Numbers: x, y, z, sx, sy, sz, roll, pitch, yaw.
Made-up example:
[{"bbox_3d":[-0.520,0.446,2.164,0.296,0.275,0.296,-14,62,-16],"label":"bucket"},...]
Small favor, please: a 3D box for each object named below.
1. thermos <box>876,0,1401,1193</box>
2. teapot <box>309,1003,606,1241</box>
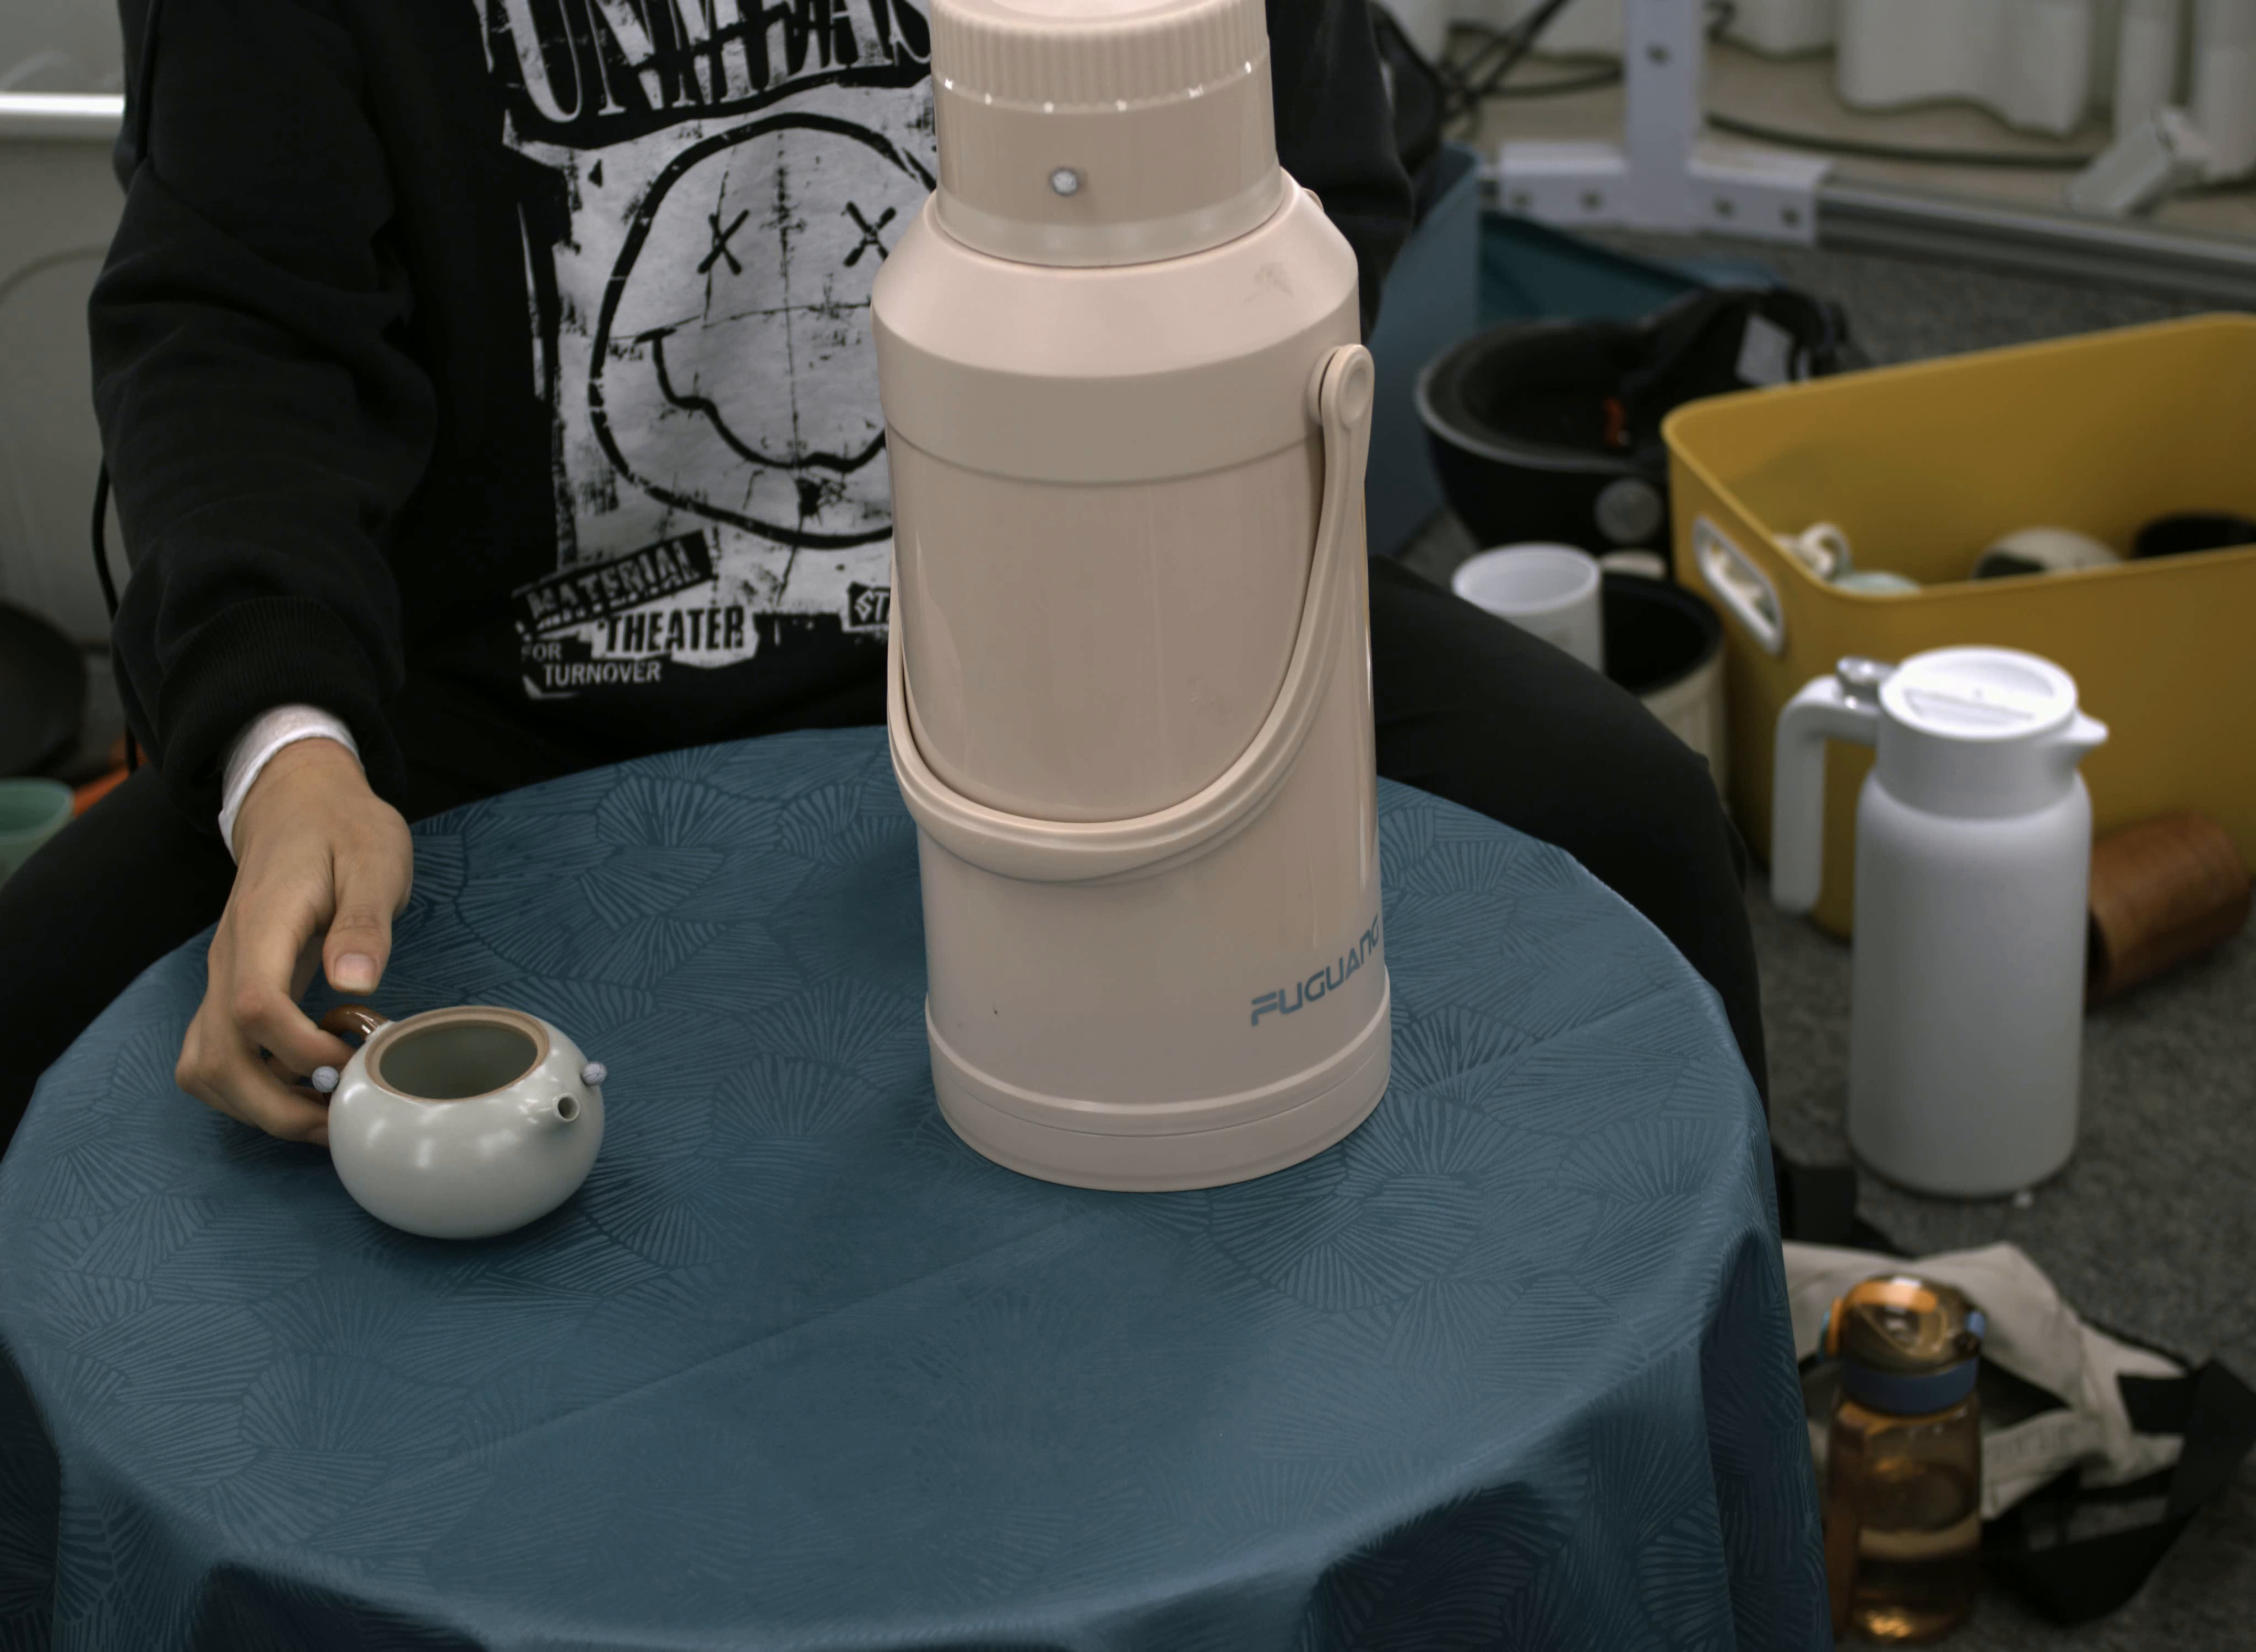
[{"bbox_3d":[0.011,-0.096,1.853,0.174,0.402,0.210,10,30,28],"label":"thermos"},{"bbox_3d":[-0.226,0.096,1.867,0.127,0.059,0.093,19,37,34],"label":"teapot"}]
